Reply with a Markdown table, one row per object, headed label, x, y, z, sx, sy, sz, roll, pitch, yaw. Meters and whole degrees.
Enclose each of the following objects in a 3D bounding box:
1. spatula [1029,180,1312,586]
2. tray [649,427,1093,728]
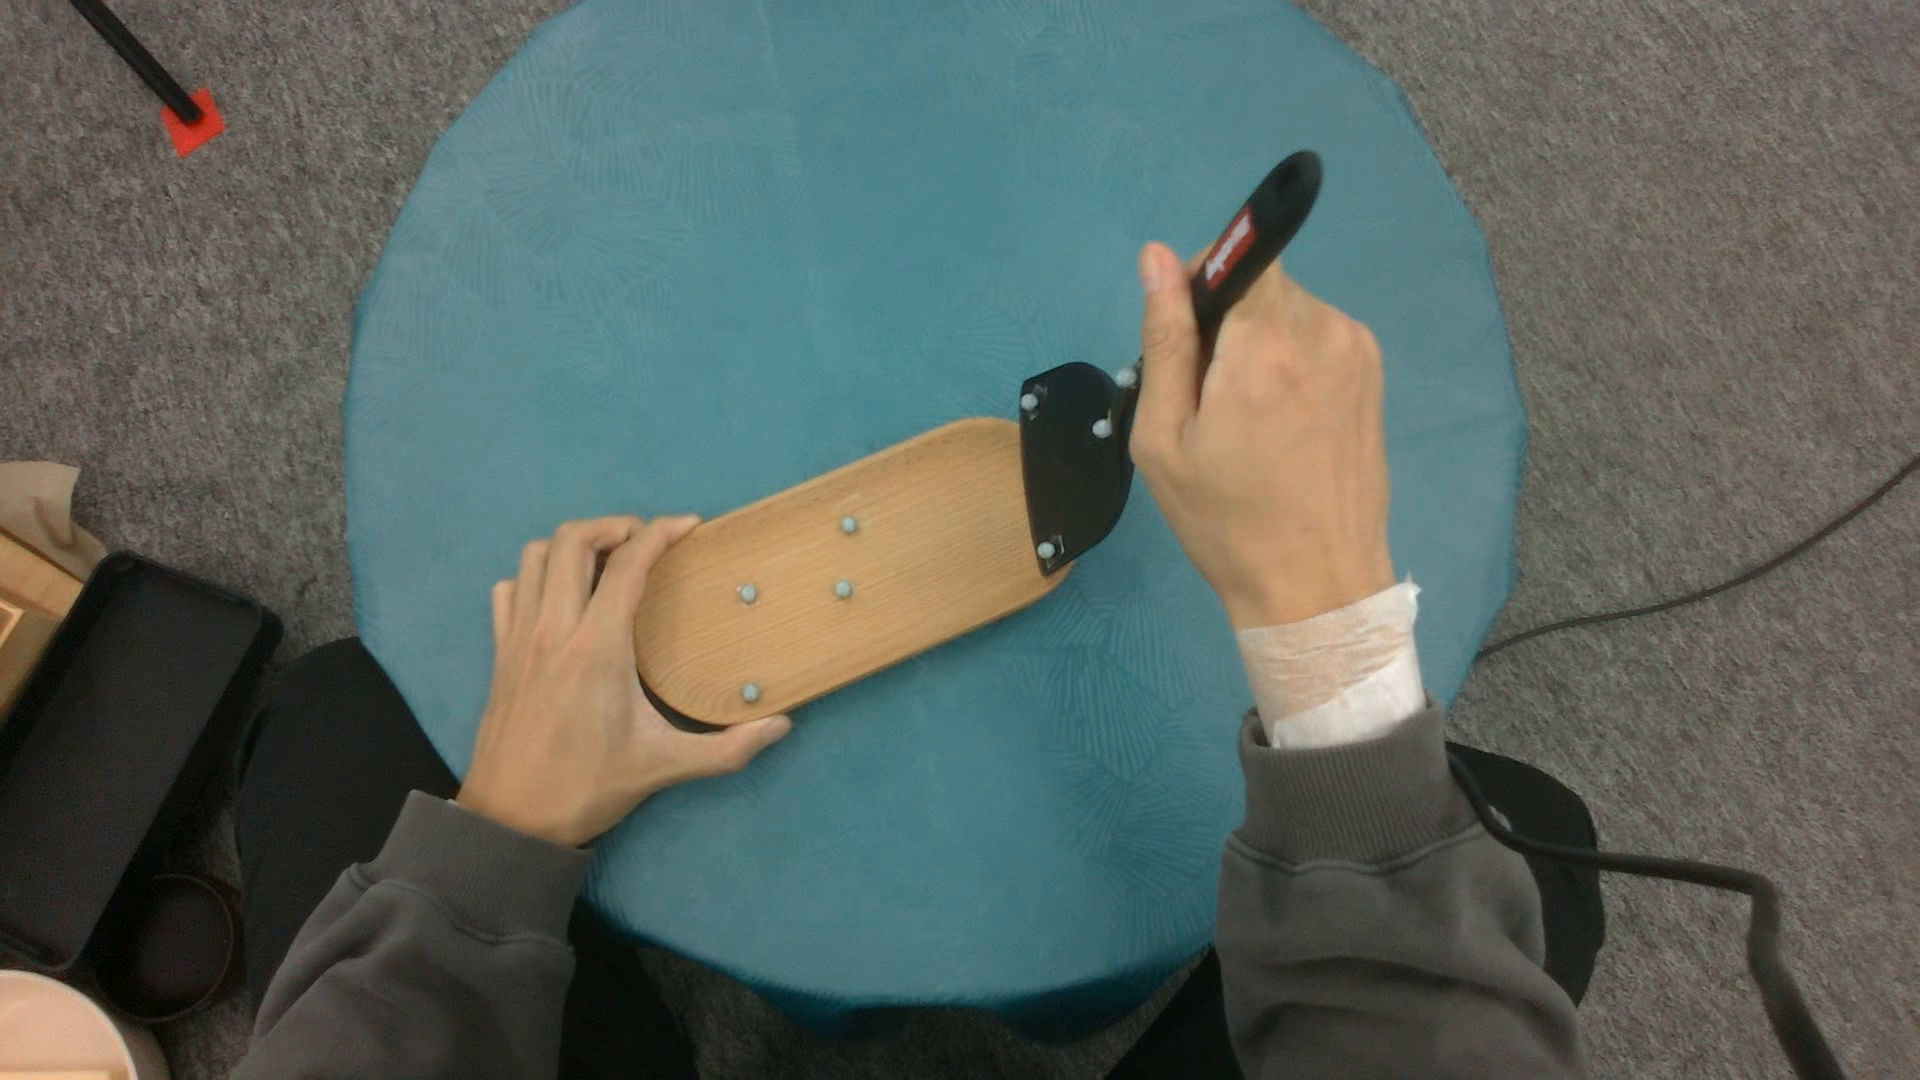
| label | x | y | z | sx | sy | sz | roll | pitch | yaw |
| --- | --- | --- | --- | --- | --- | --- | --- | --- | --- |
| spatula | 0.069 | -0.059 | 0.536 | 0.040 | 0.325 | 0.100 | -7 | 78 | -6 |
| tray | -0.041 | 0.017 | 0.684 | 0.231 | 0.020 | 0.102 | -23 | 73 | -9 |
